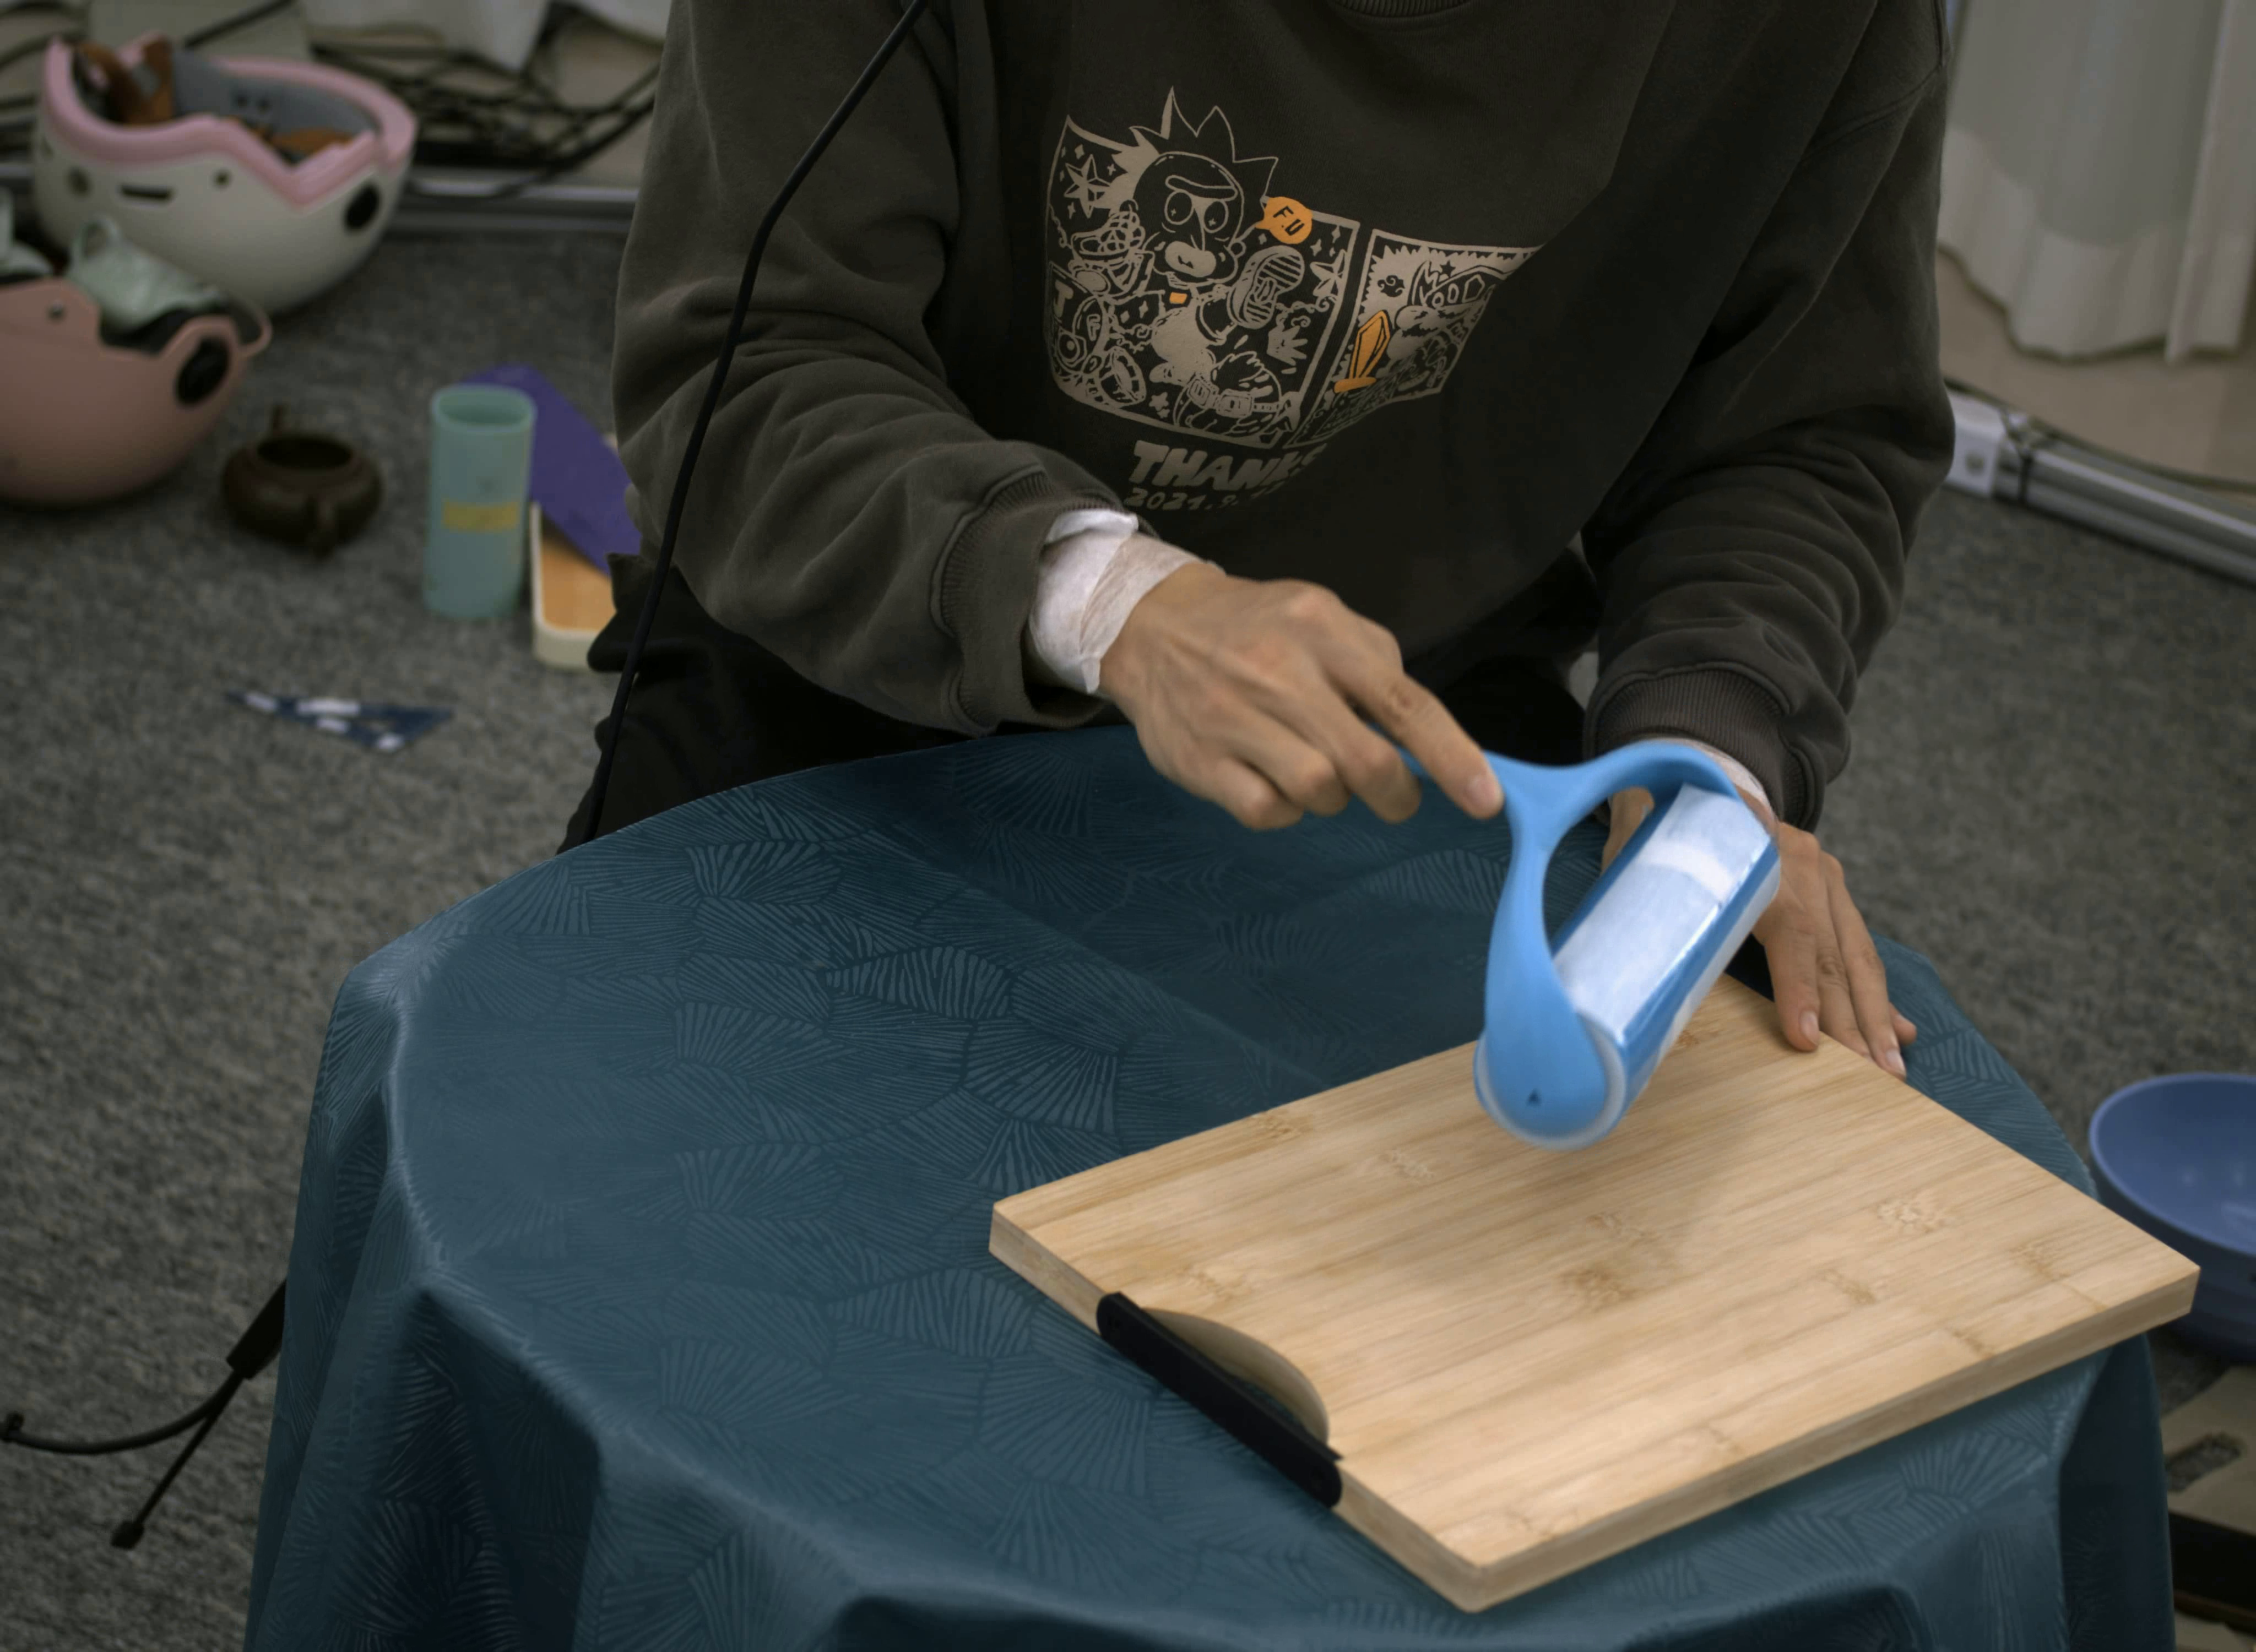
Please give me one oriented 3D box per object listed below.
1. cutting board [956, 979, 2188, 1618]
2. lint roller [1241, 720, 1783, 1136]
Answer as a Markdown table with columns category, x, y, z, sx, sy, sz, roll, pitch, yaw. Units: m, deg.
| category | x | y | z | sx | sy | sz | roll | pitch | yaw |
| --- | --- | --- | --- | --- | --- | --- | --- | --- | --- |
| cutting board | 0.152 | 0.147 | 1.775 | 0.346 | 0.023 | 0.253 | -16 | 34 | -38 |
| lint roller | 0.125 | 0.007 | 1.801 | 0.180 | 0.068 | 0.229 | 36 | 30 | 4 |
